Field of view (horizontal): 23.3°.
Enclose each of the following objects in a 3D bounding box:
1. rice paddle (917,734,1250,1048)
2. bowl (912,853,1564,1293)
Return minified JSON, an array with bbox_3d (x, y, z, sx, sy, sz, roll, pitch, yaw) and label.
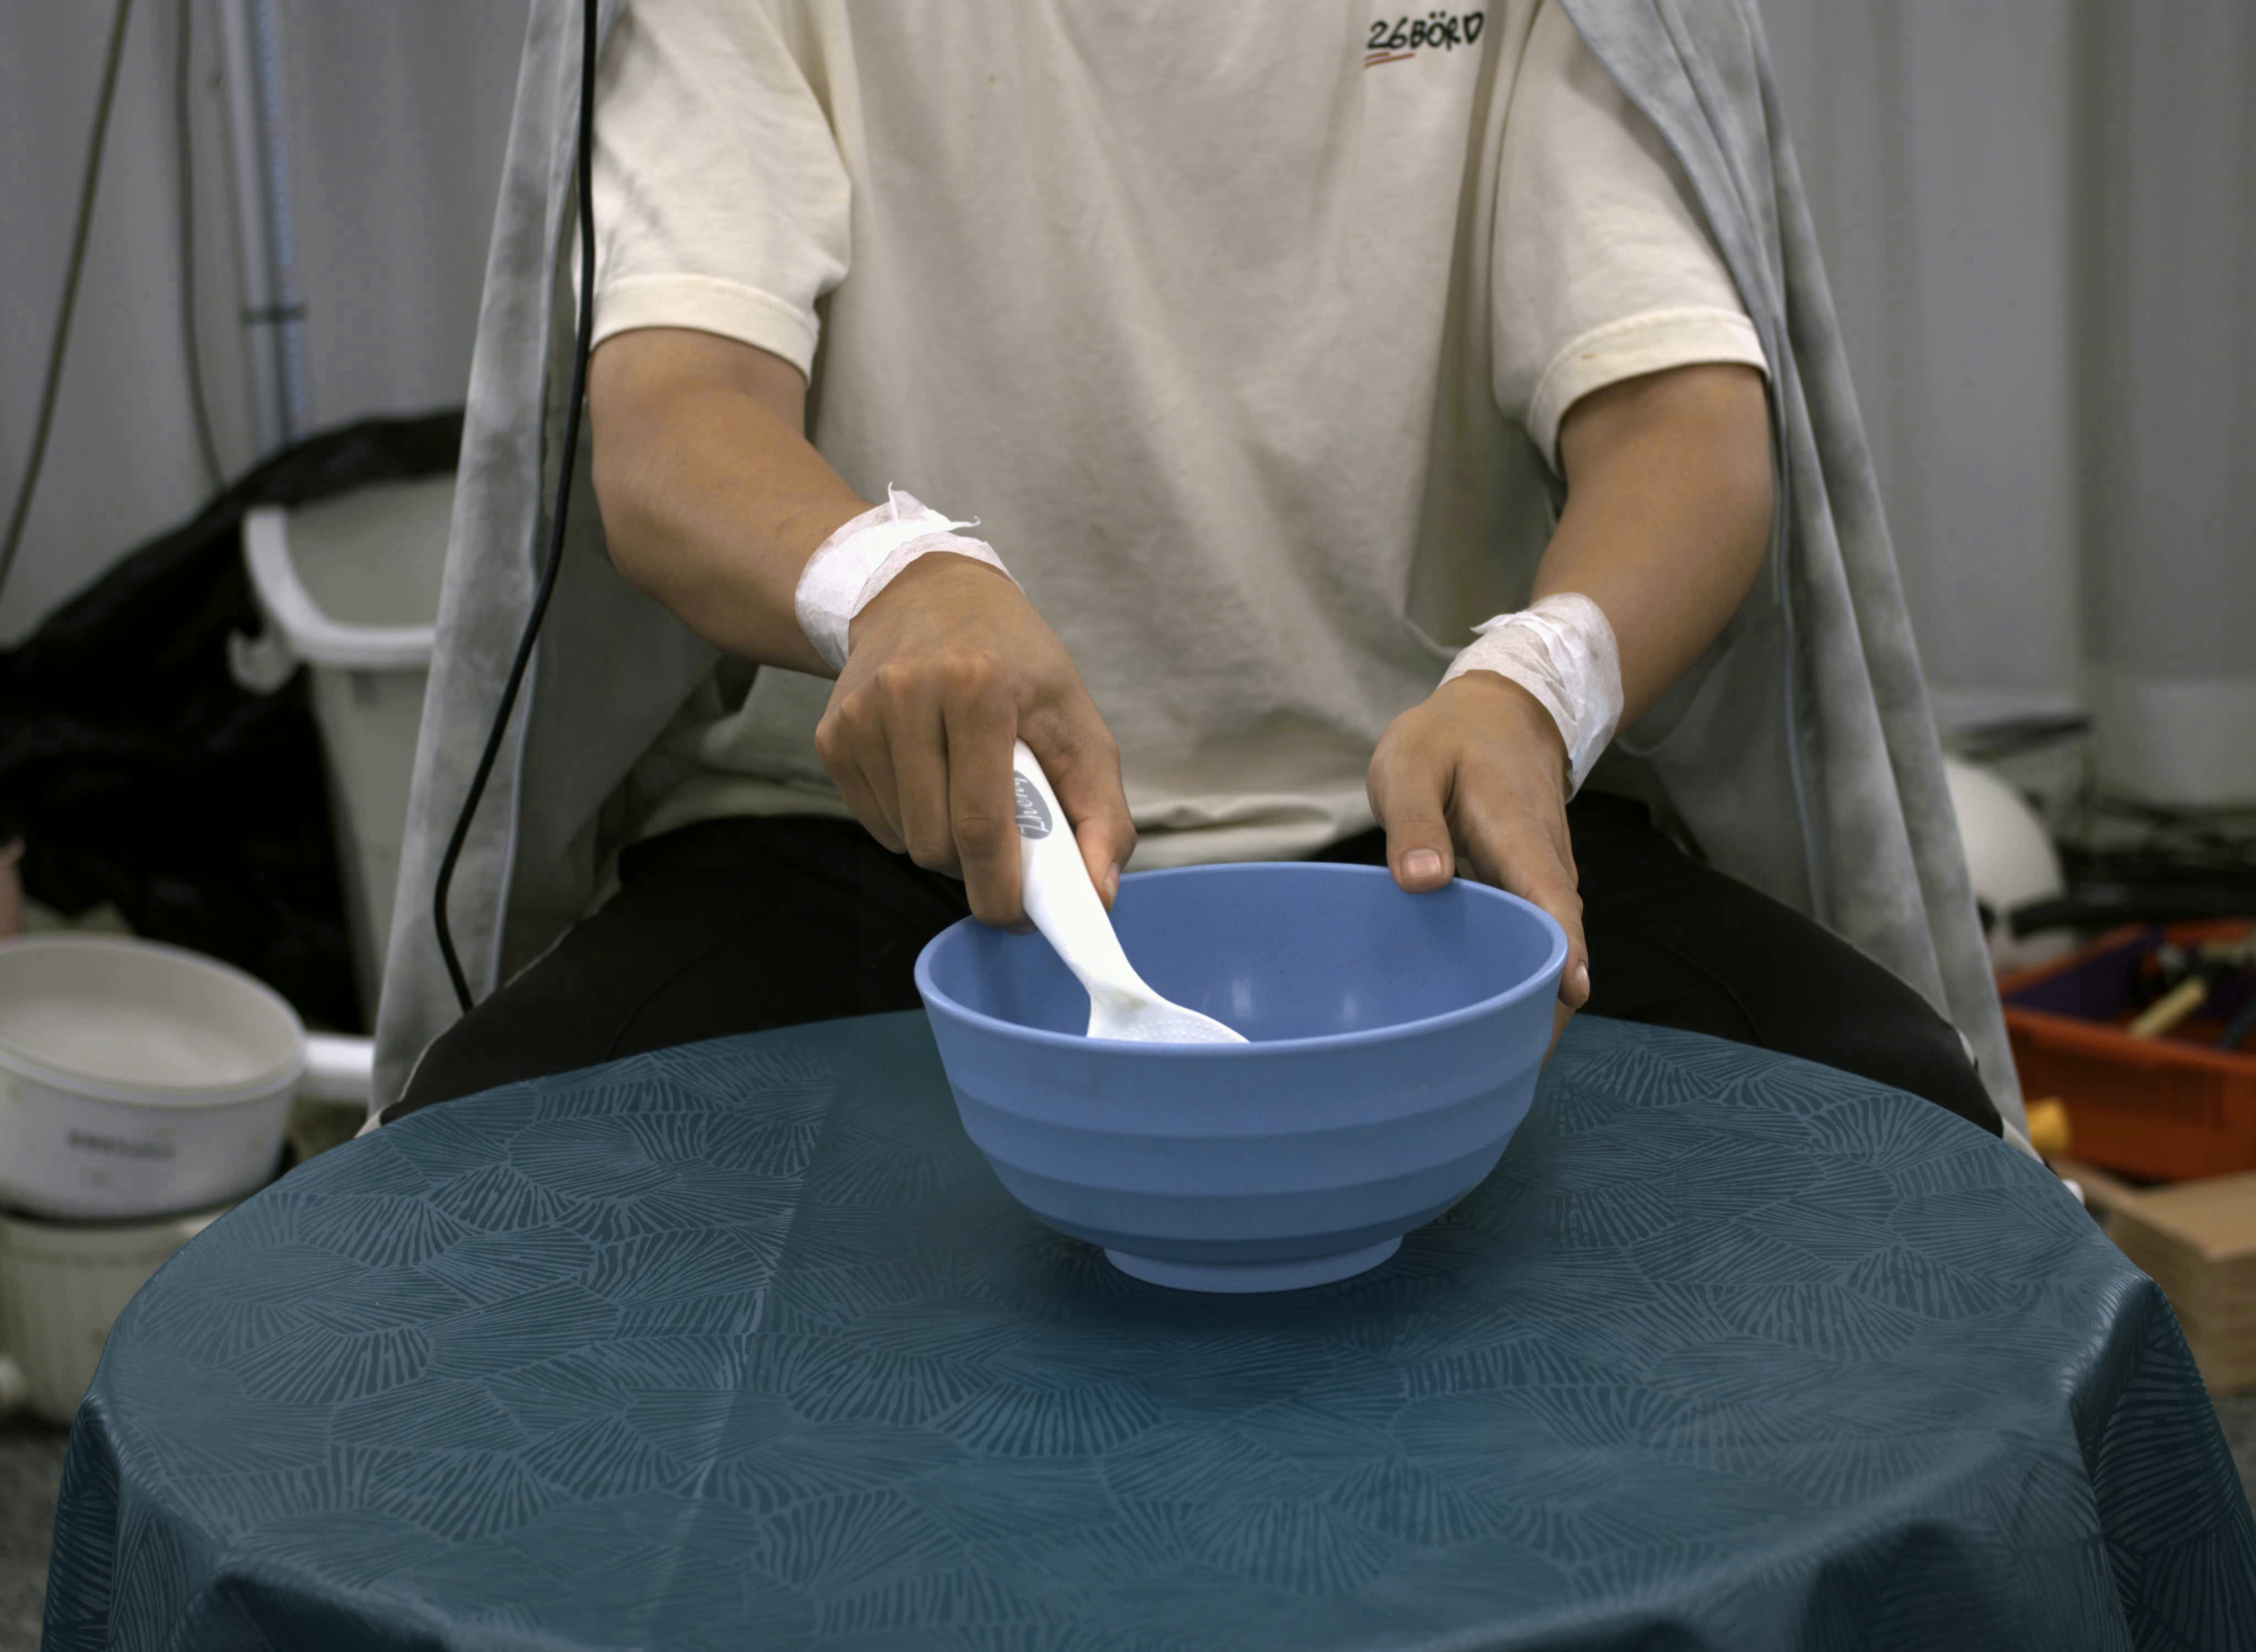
[{"bbox_3d":[0.000,0.051,1.666,0.068,0.029,0.208,-17,53,-28],"label":"rice paddle"},{"bbox_3d":[0.036,0.081,1.653,0.196,0.095,0.198,-4,16,1],"label":"bowl"}]
